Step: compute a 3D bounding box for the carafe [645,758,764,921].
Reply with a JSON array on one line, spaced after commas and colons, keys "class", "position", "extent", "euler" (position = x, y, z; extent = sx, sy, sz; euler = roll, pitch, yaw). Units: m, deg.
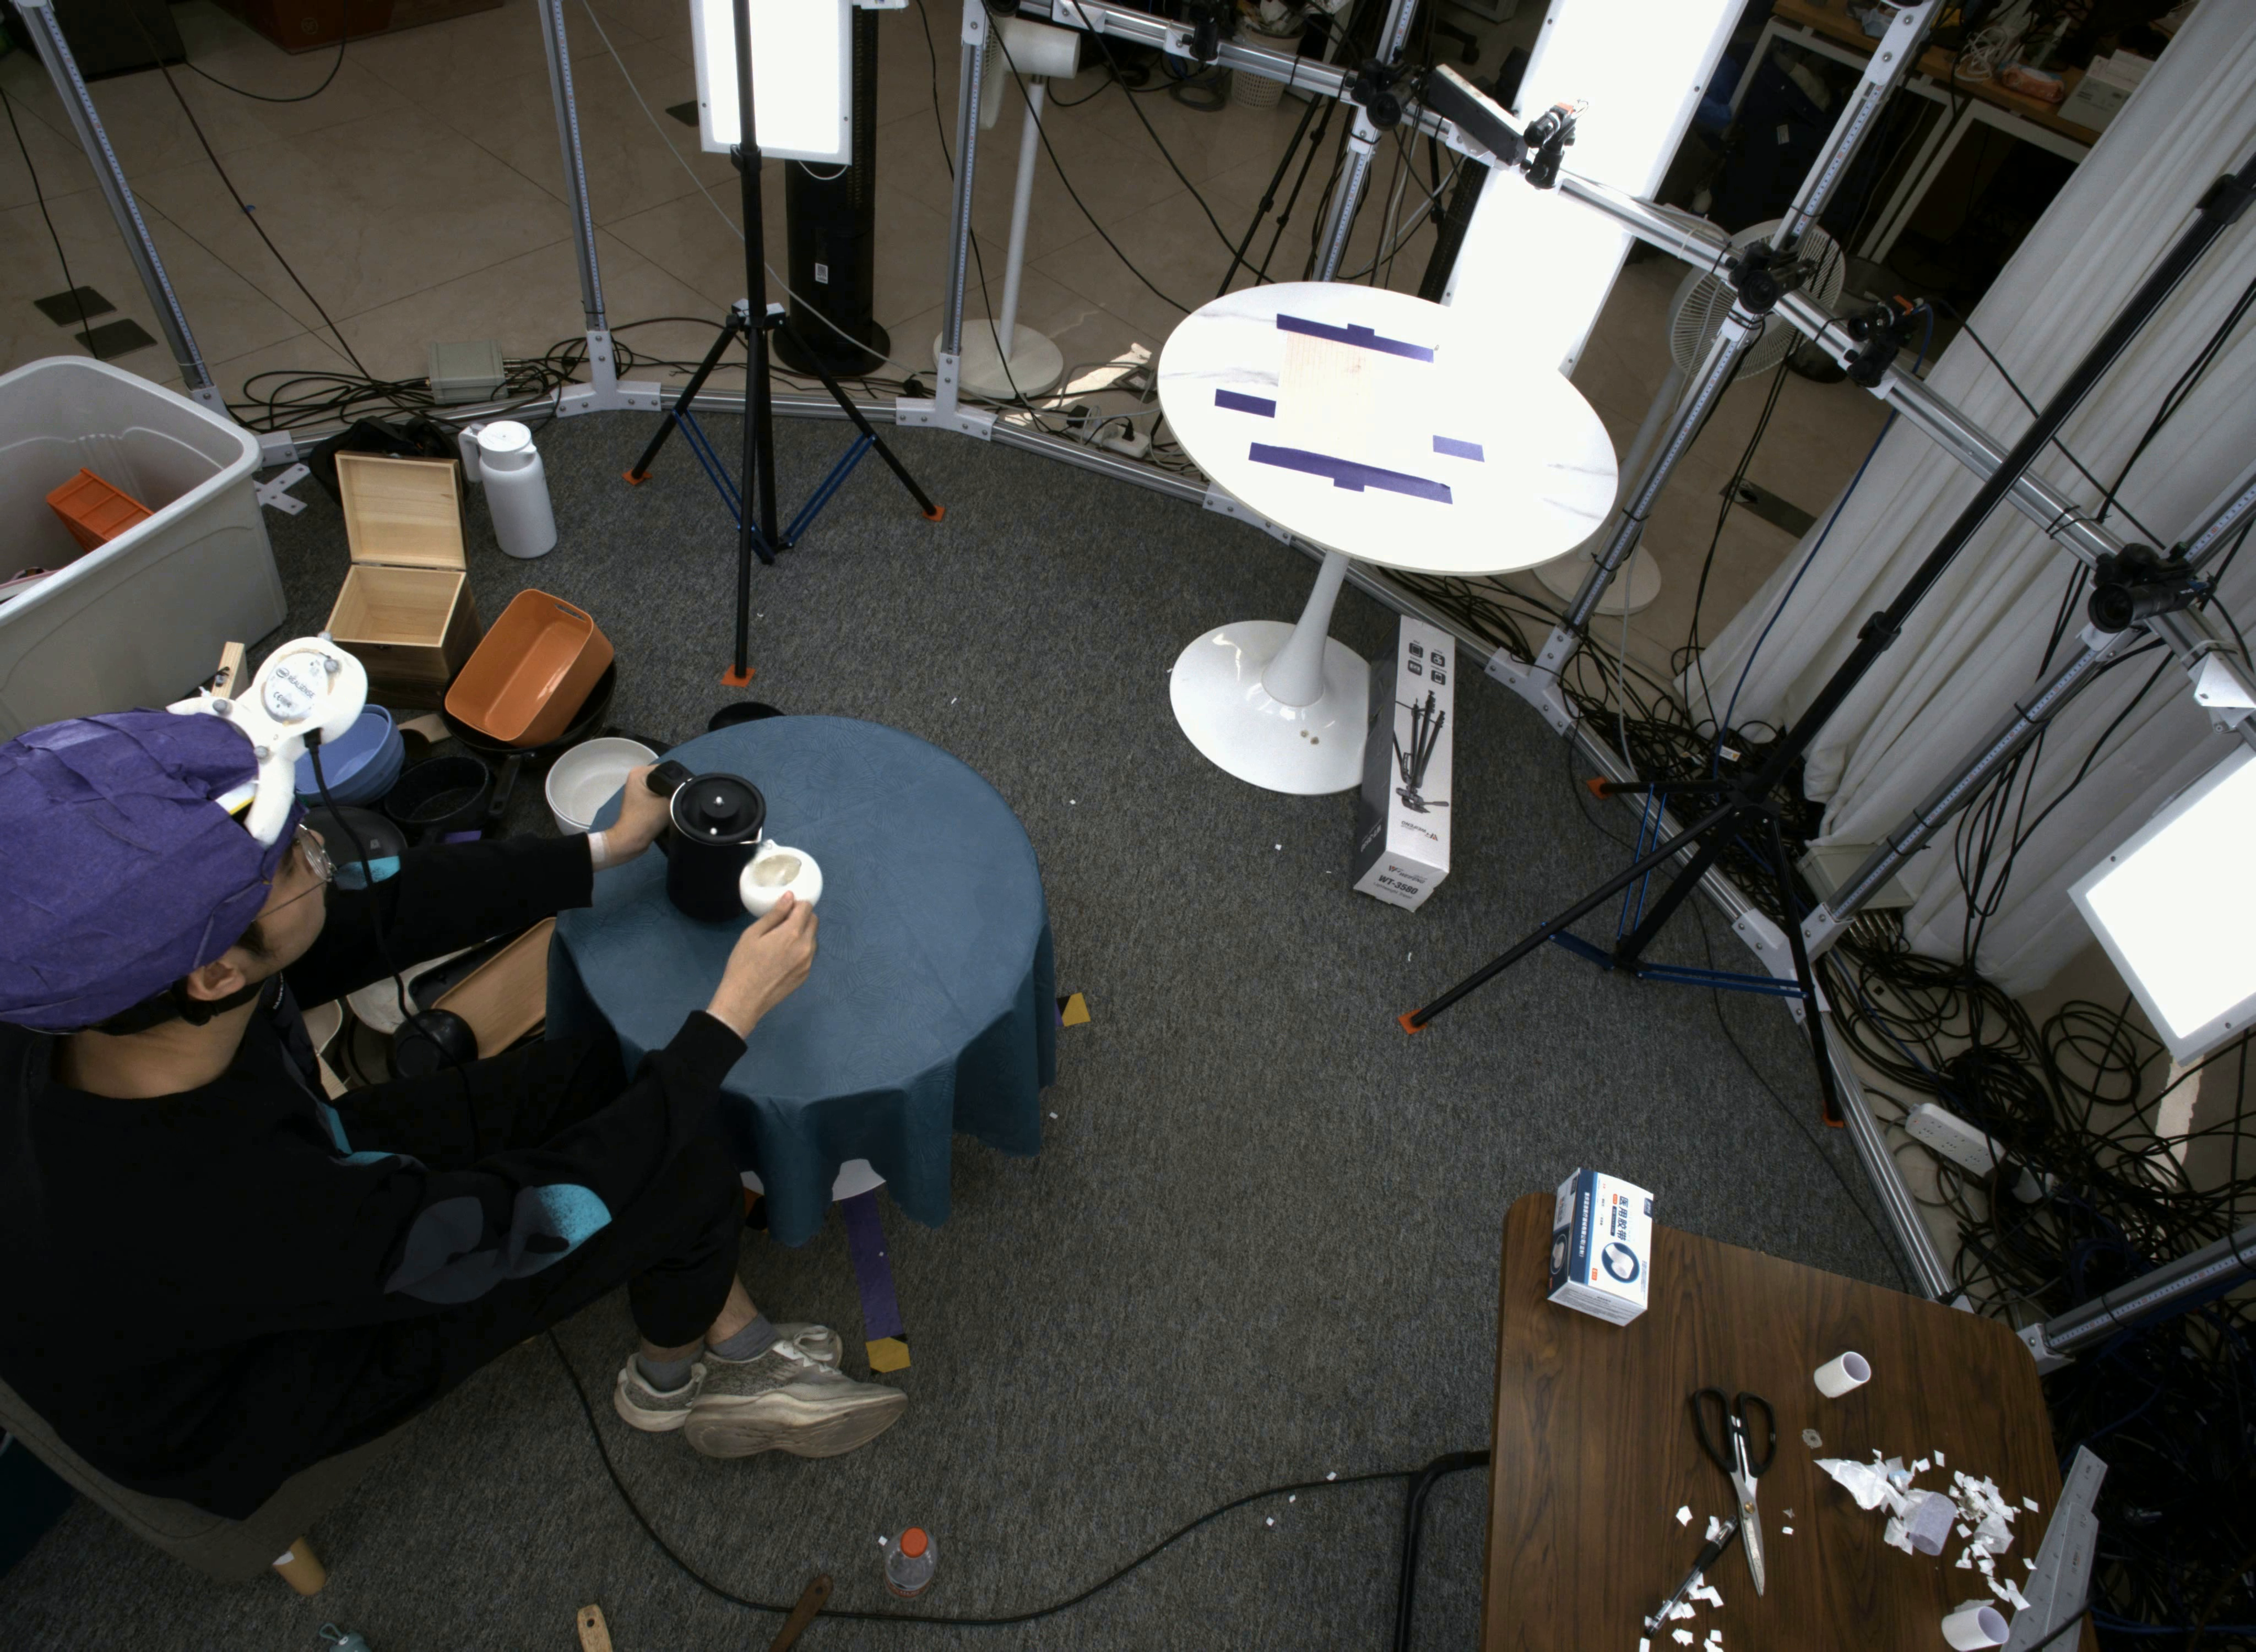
[{"class": "carafe", "position": [-0.517, 0.007, 1.565], "extent": [0.169, 0.176, 0.114], "euler": [36, 51, 8]}]

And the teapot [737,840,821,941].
[{"class": "teapot", "position": [-0.390, 0.073, 1.459], "extent": [0.094, 0.058, 0.123], "euler": [-19, 52, -22]}]
